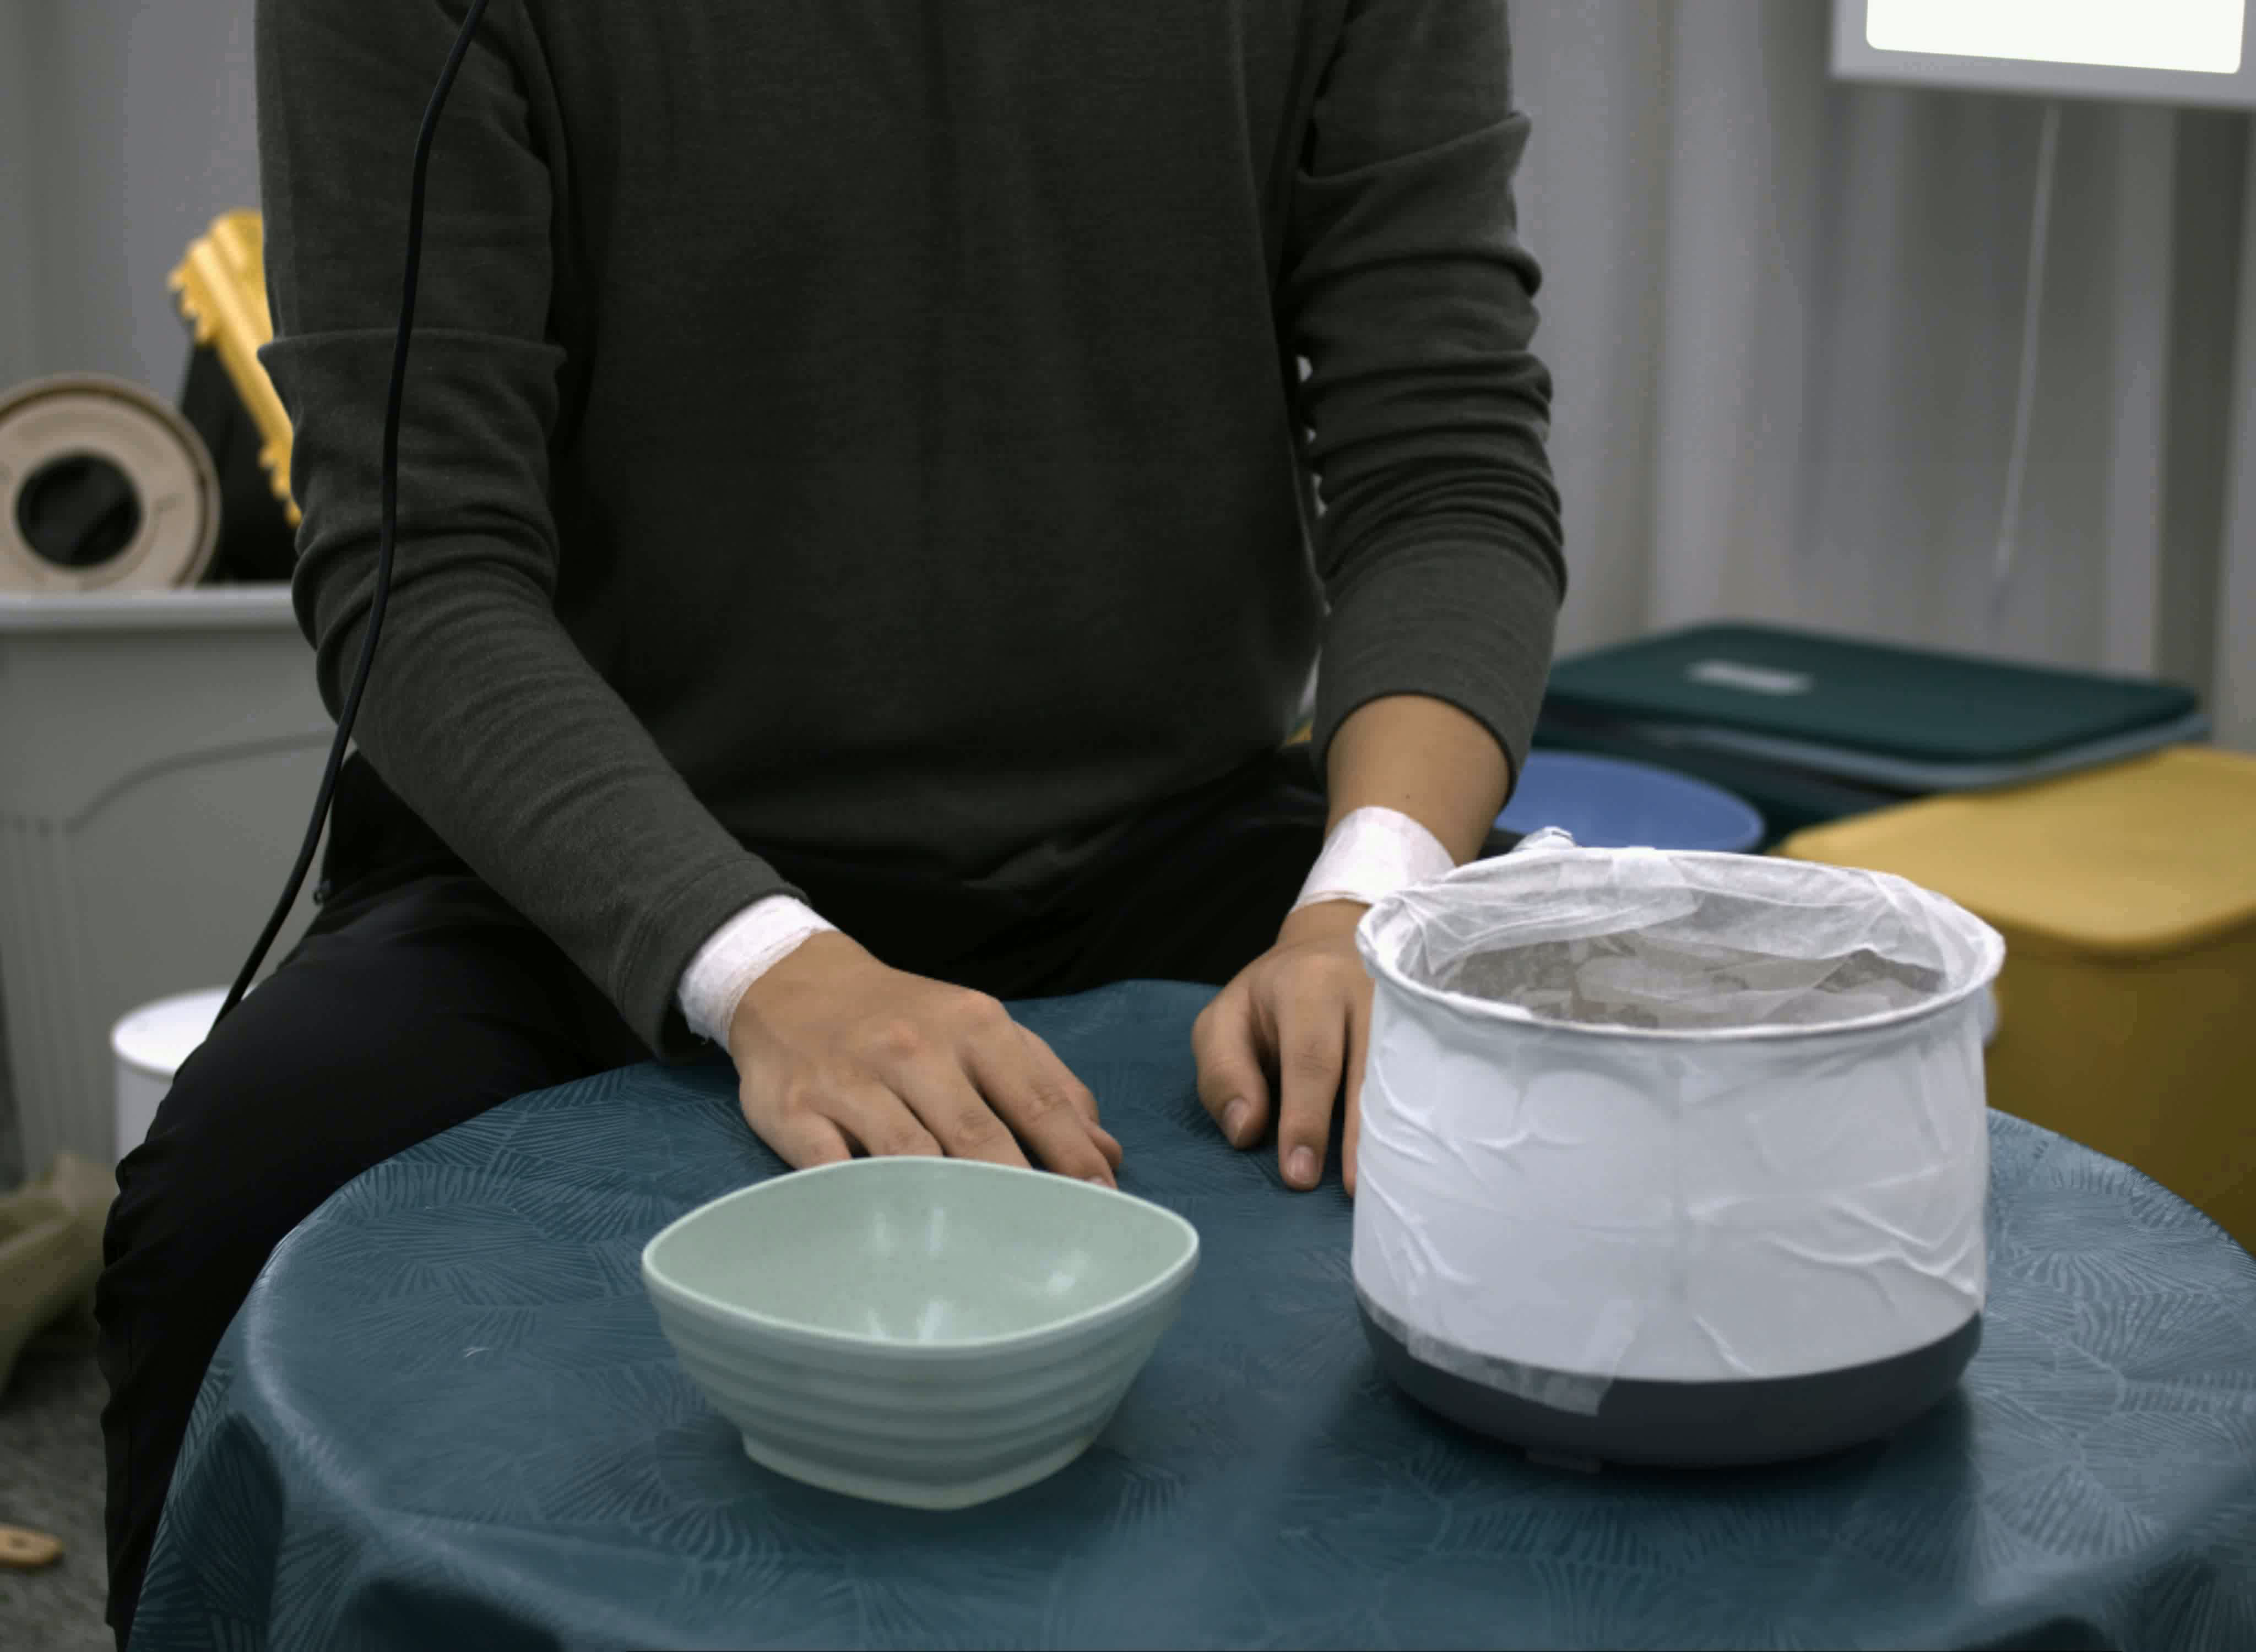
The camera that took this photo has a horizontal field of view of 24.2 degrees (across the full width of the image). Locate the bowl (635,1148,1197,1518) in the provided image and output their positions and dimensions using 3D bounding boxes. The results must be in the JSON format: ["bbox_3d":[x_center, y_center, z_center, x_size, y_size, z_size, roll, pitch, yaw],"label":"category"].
[{"bbox_3d":[-0.057,0.140,1.417,0.151,0.059,0.150,2,17,0],"label":"bowl"}]

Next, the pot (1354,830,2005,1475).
[{"bbox_3d":[0.142,0.085,1.476,0.179,0.138,0.231,-5,16,-17],"label":"pot"}]
